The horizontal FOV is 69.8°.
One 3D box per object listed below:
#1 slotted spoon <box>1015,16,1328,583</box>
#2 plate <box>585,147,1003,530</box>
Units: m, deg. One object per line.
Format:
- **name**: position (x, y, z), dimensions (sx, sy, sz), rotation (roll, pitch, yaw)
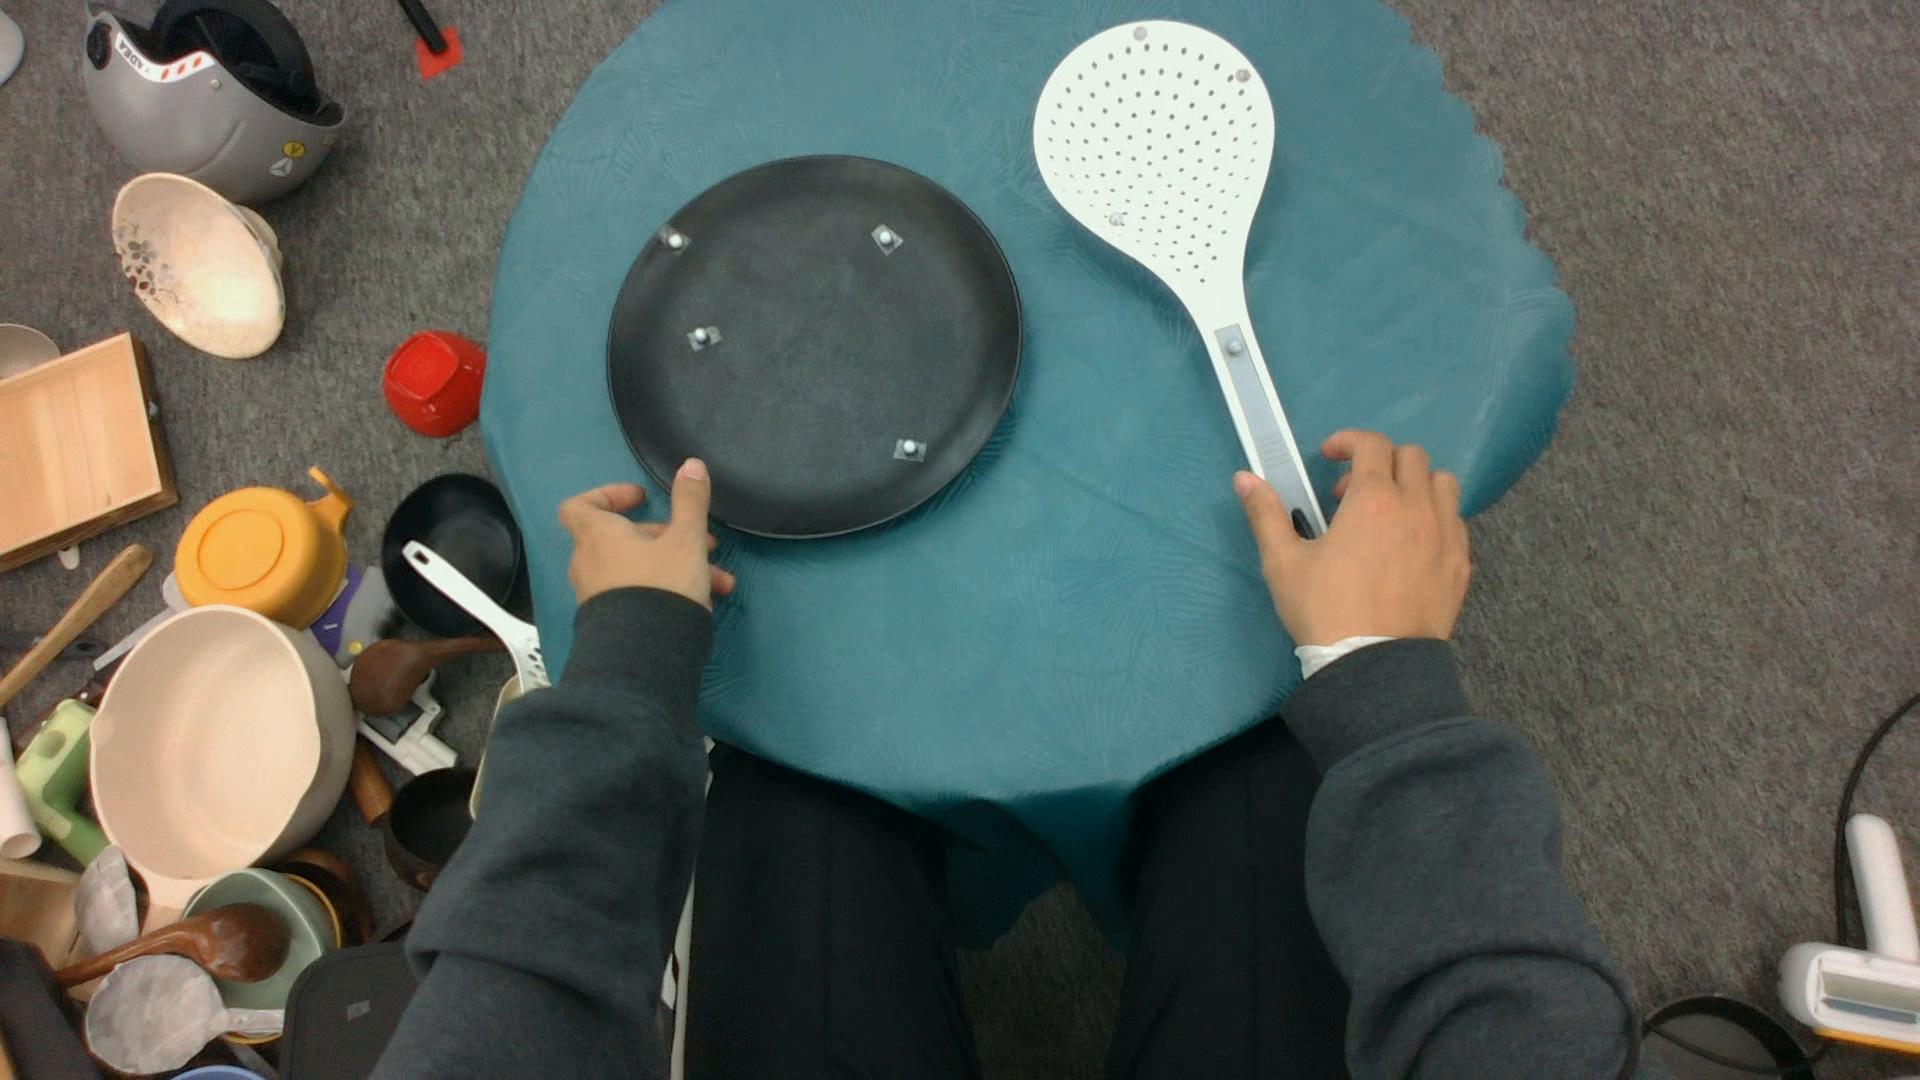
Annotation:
- **slotted spoon**: position (0.133, -0.141, 0.779), dimensions (0.136, 0.045, 0.350), rotation (-18, 72, 0)
- **plate**: position (-0.095, -0.119, 0.800), dimensions (0.244, 0.023, 0.245), rotation (-1, 71, 4)
